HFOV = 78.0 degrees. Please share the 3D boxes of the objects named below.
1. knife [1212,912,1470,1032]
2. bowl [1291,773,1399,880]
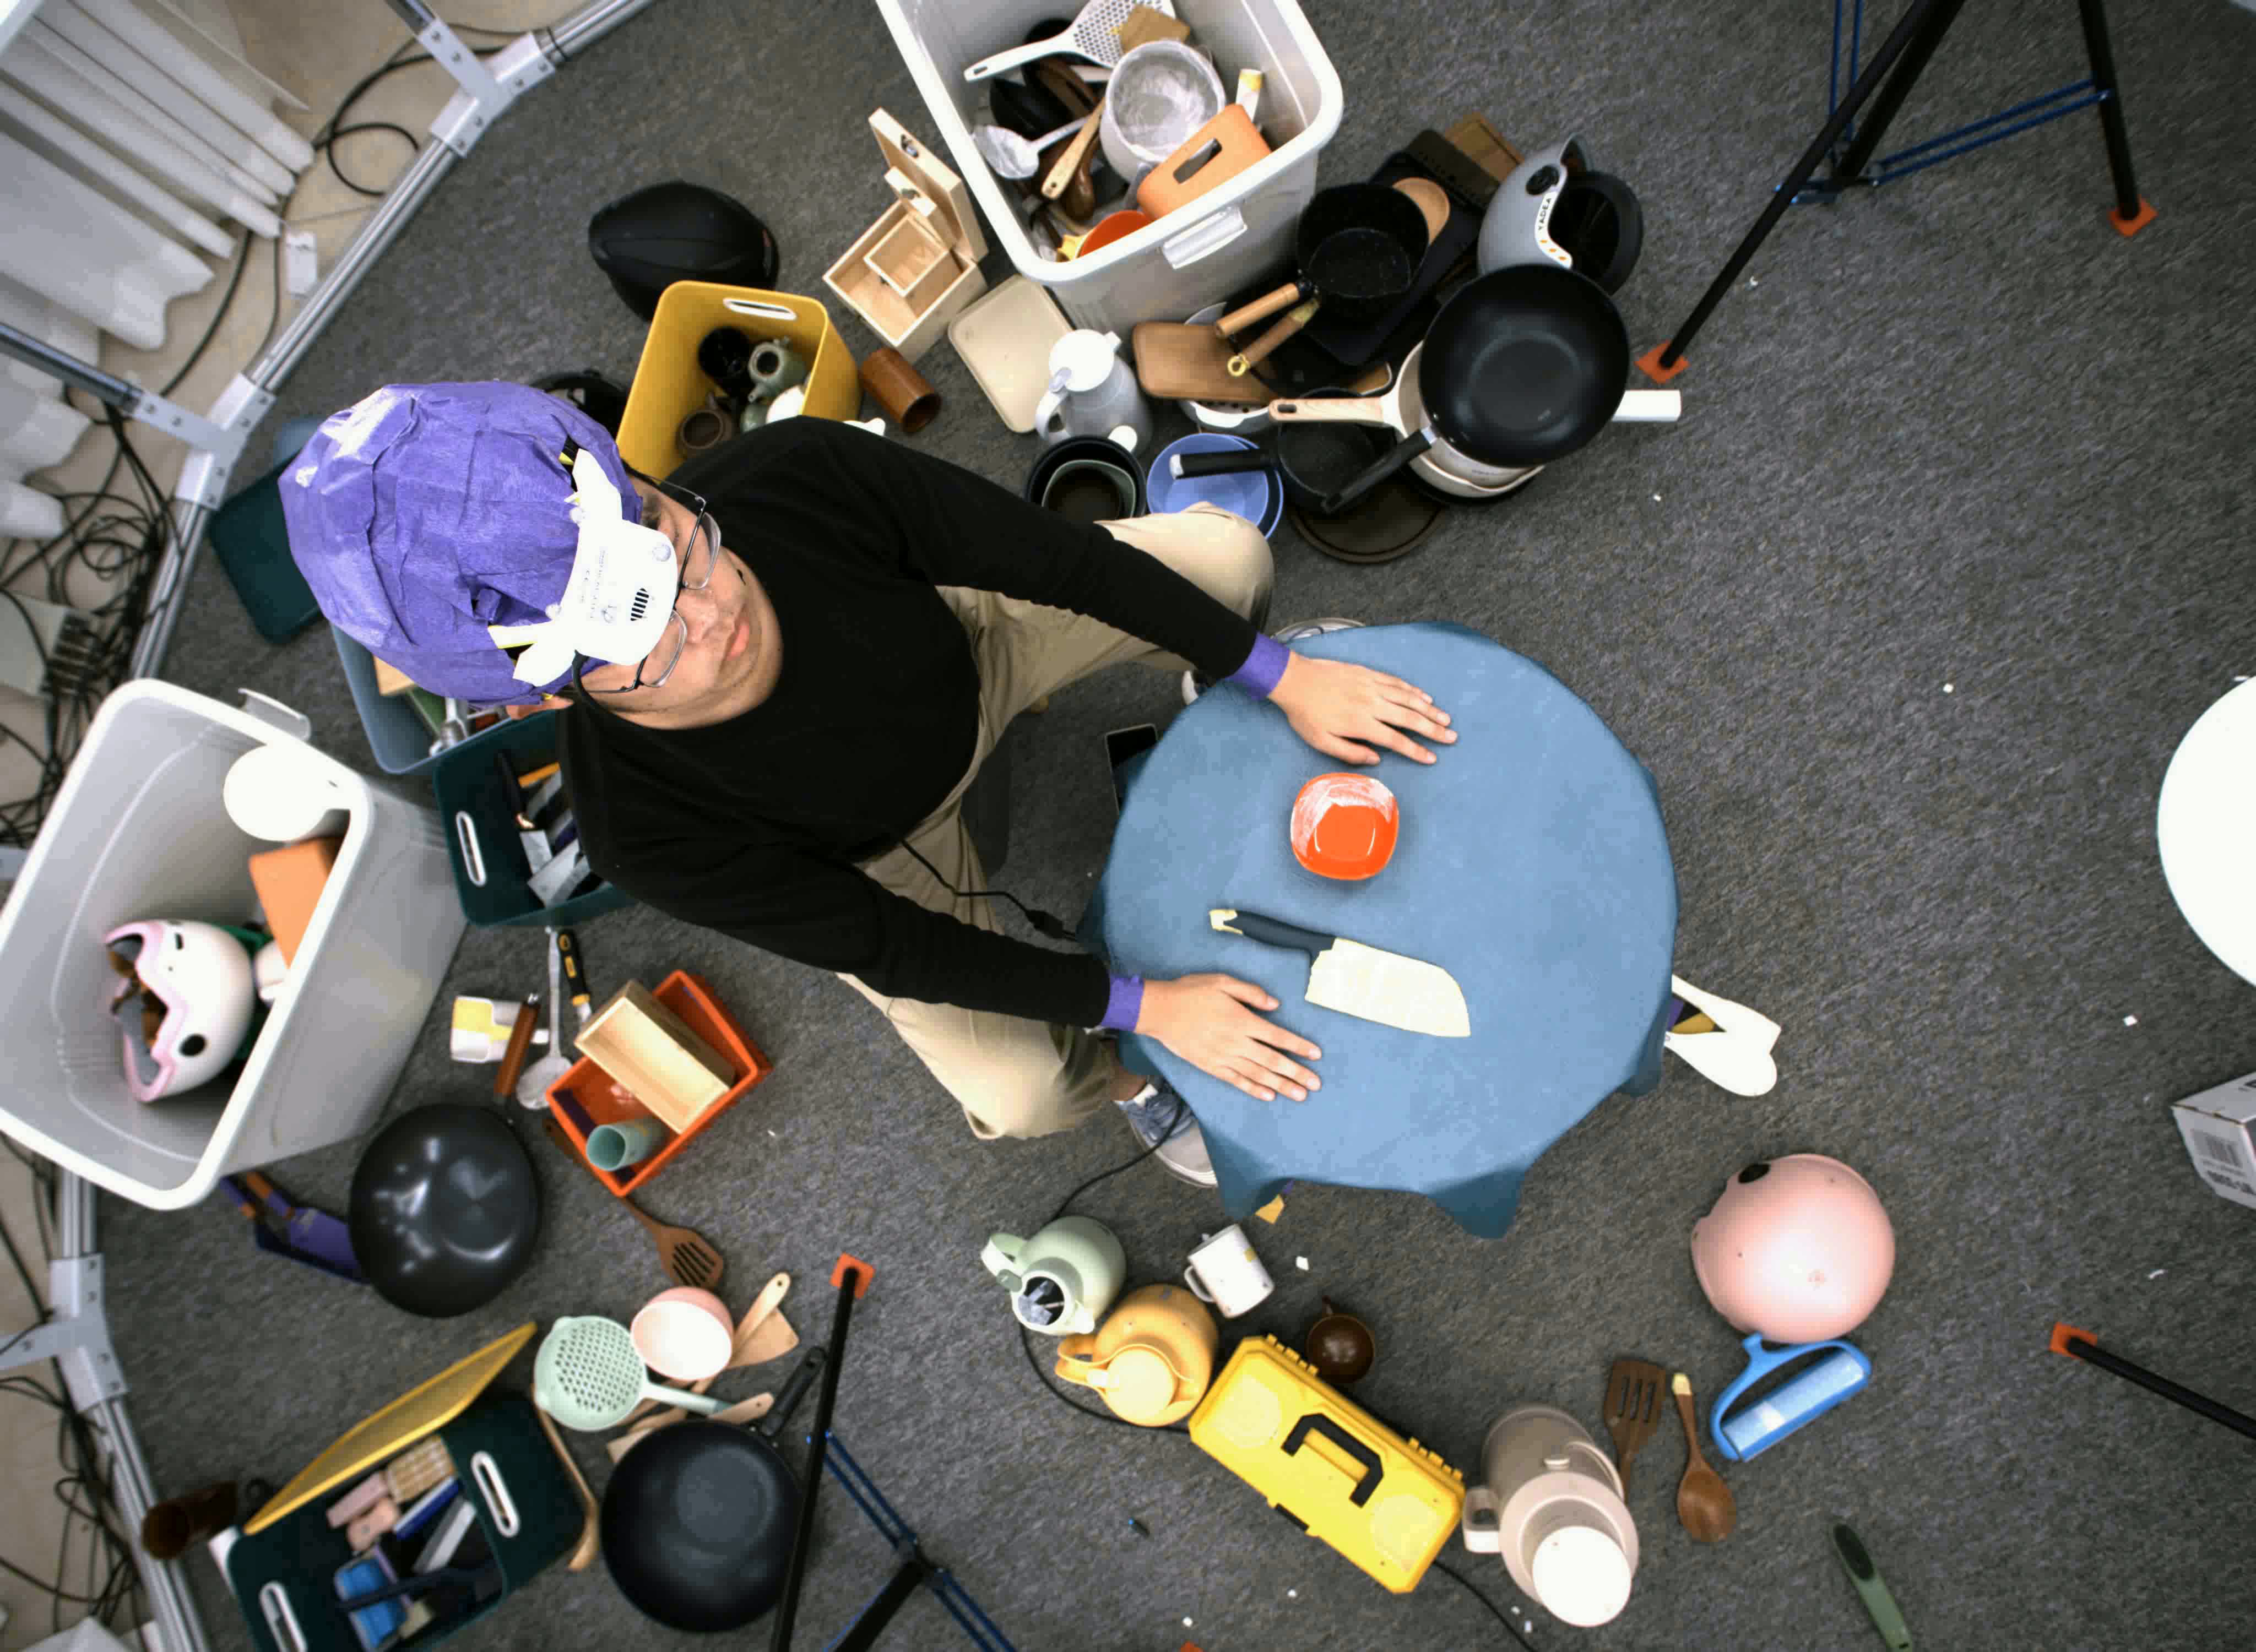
[{"bbox_3d":[0.221,0.151,1.460,0.289,0.027,0.081,18,89,10],"label":"knife"},{"bbox_3d":[0.227,0.001,1.446,0.119,0.051,0.118,0,88,10],"label":"bowl"}]
